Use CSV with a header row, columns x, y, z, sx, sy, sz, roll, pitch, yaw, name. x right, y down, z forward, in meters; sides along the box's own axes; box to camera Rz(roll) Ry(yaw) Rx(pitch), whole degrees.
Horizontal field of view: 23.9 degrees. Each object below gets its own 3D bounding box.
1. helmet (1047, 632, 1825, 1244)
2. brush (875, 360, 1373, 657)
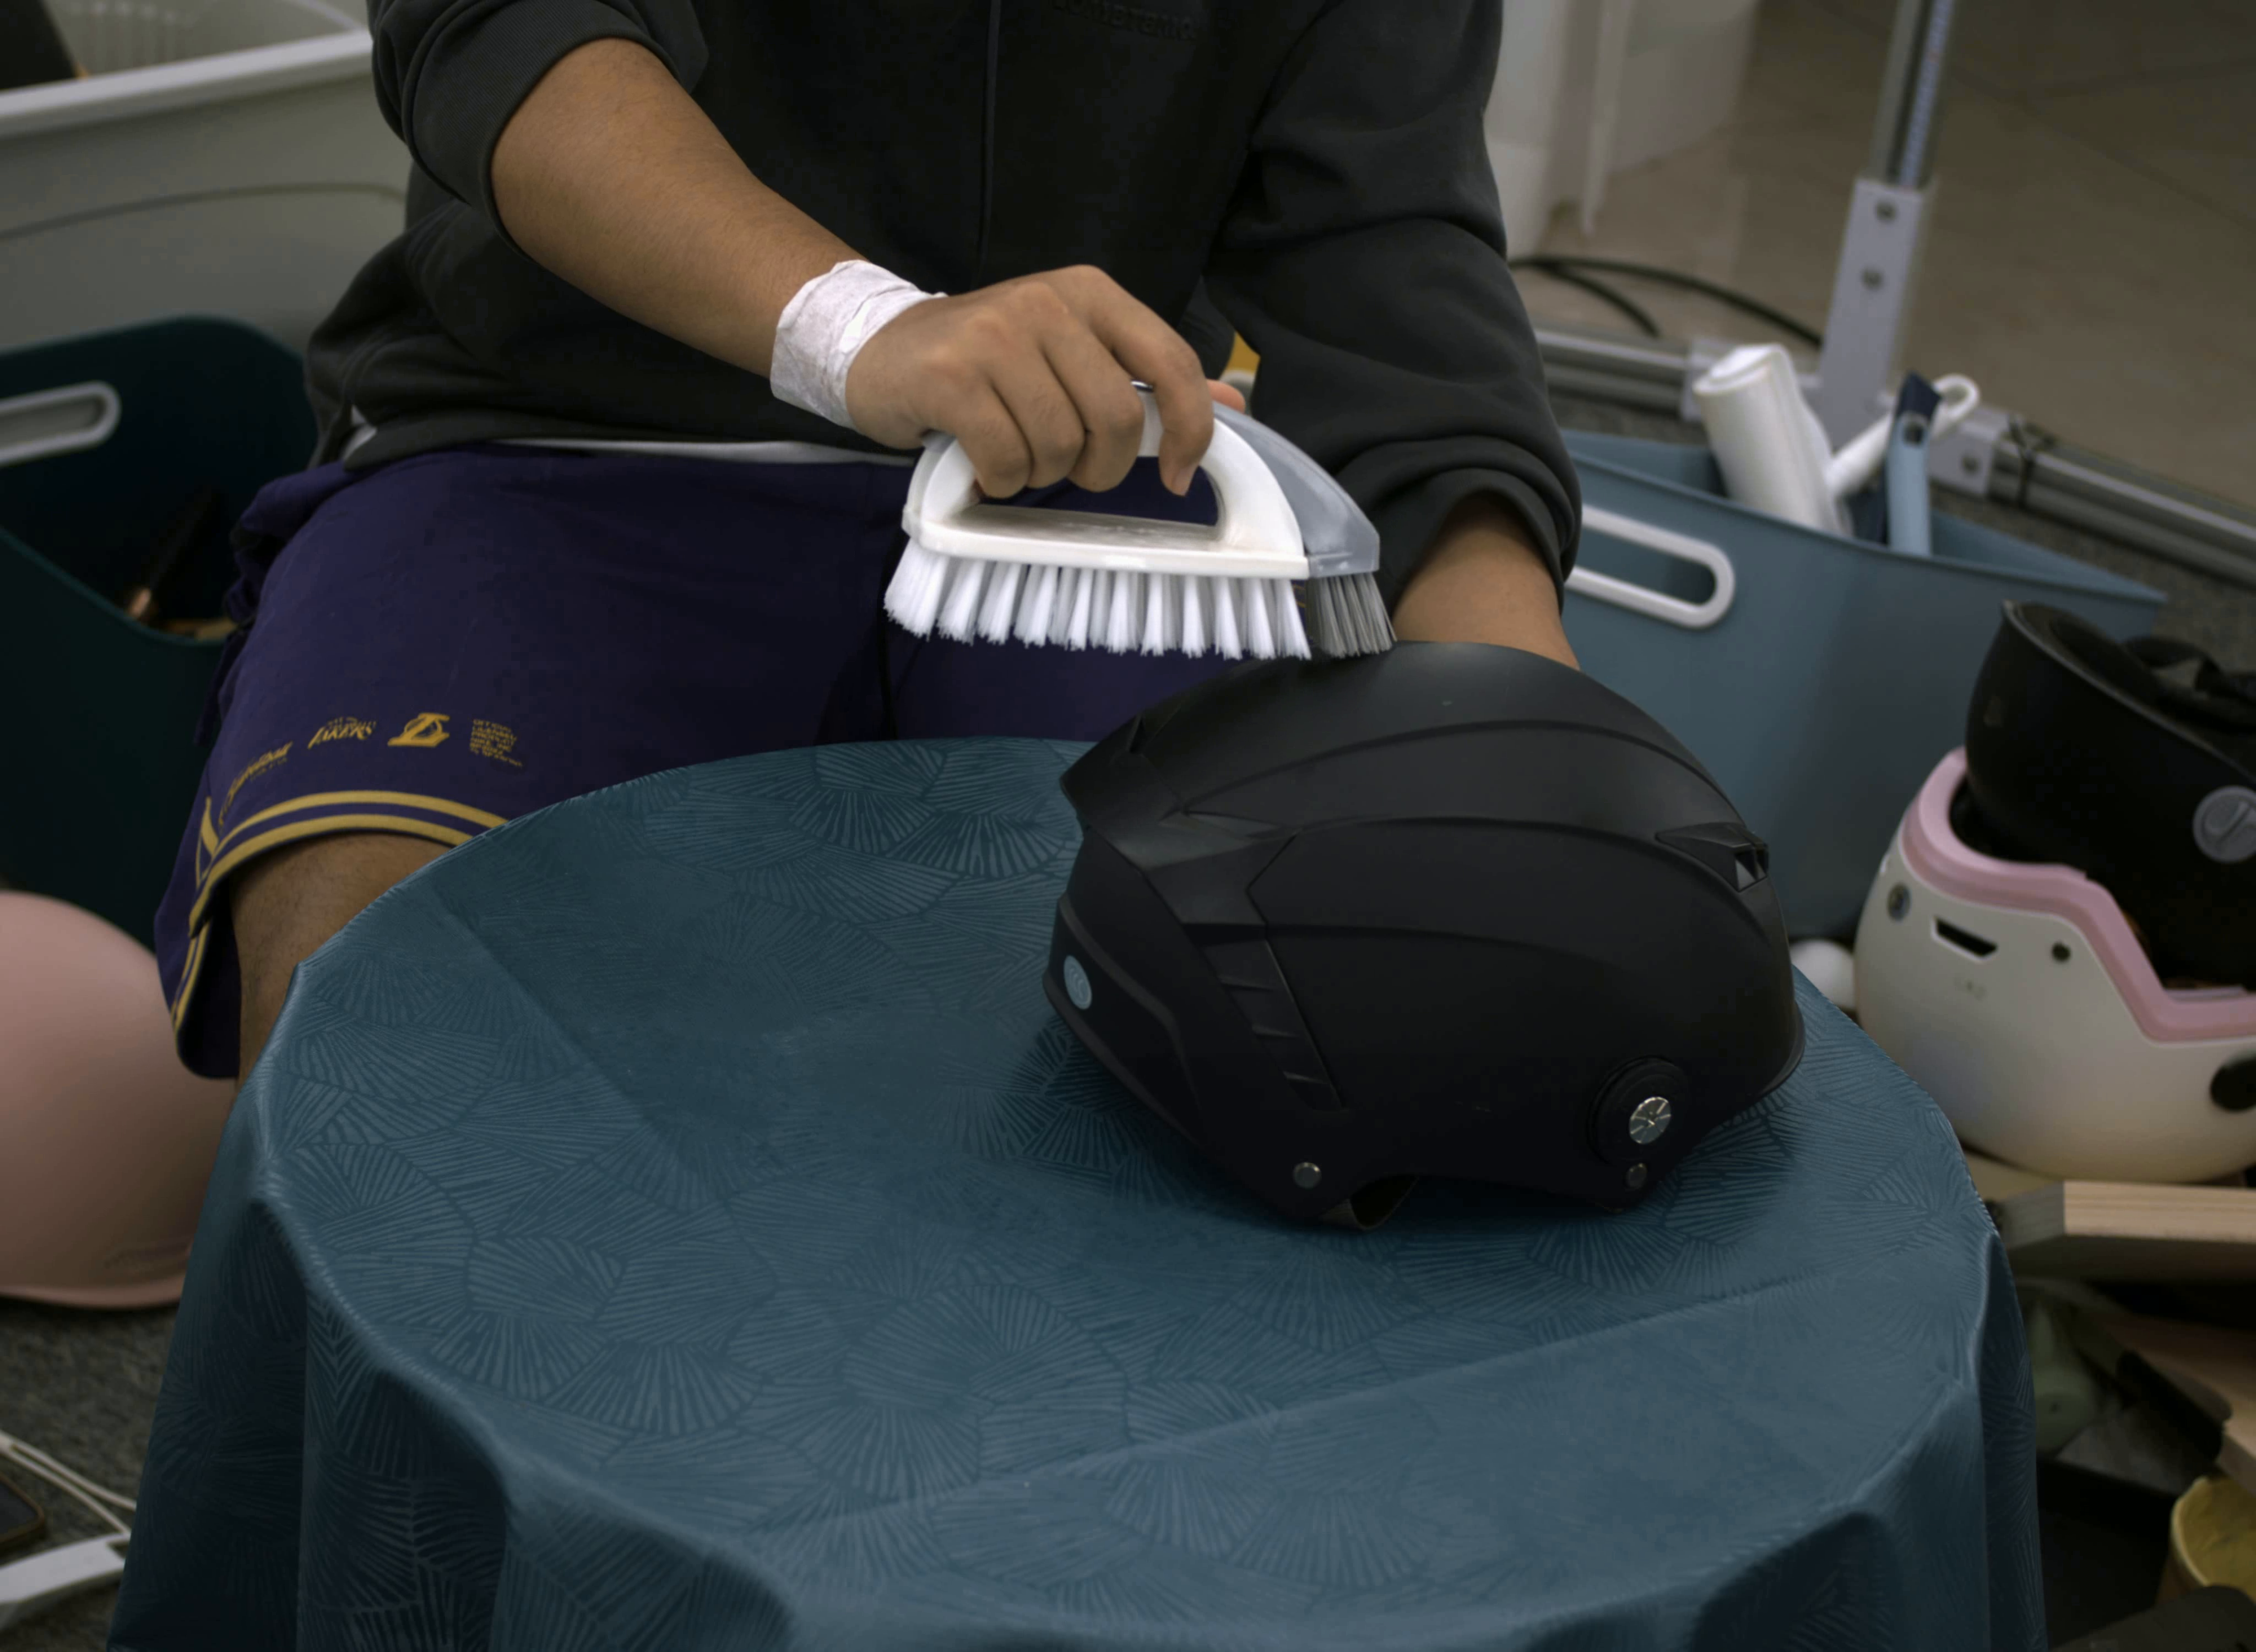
x,y,z,sx,sy,sz,roll,pitch,yaw,name
0.107,0.021,1.854,0.275,0.172,0.249,-9,31,-20,helmet
0.006,-0.109,1.813,0.174,0.094,0.062,7,15,-13,brush
